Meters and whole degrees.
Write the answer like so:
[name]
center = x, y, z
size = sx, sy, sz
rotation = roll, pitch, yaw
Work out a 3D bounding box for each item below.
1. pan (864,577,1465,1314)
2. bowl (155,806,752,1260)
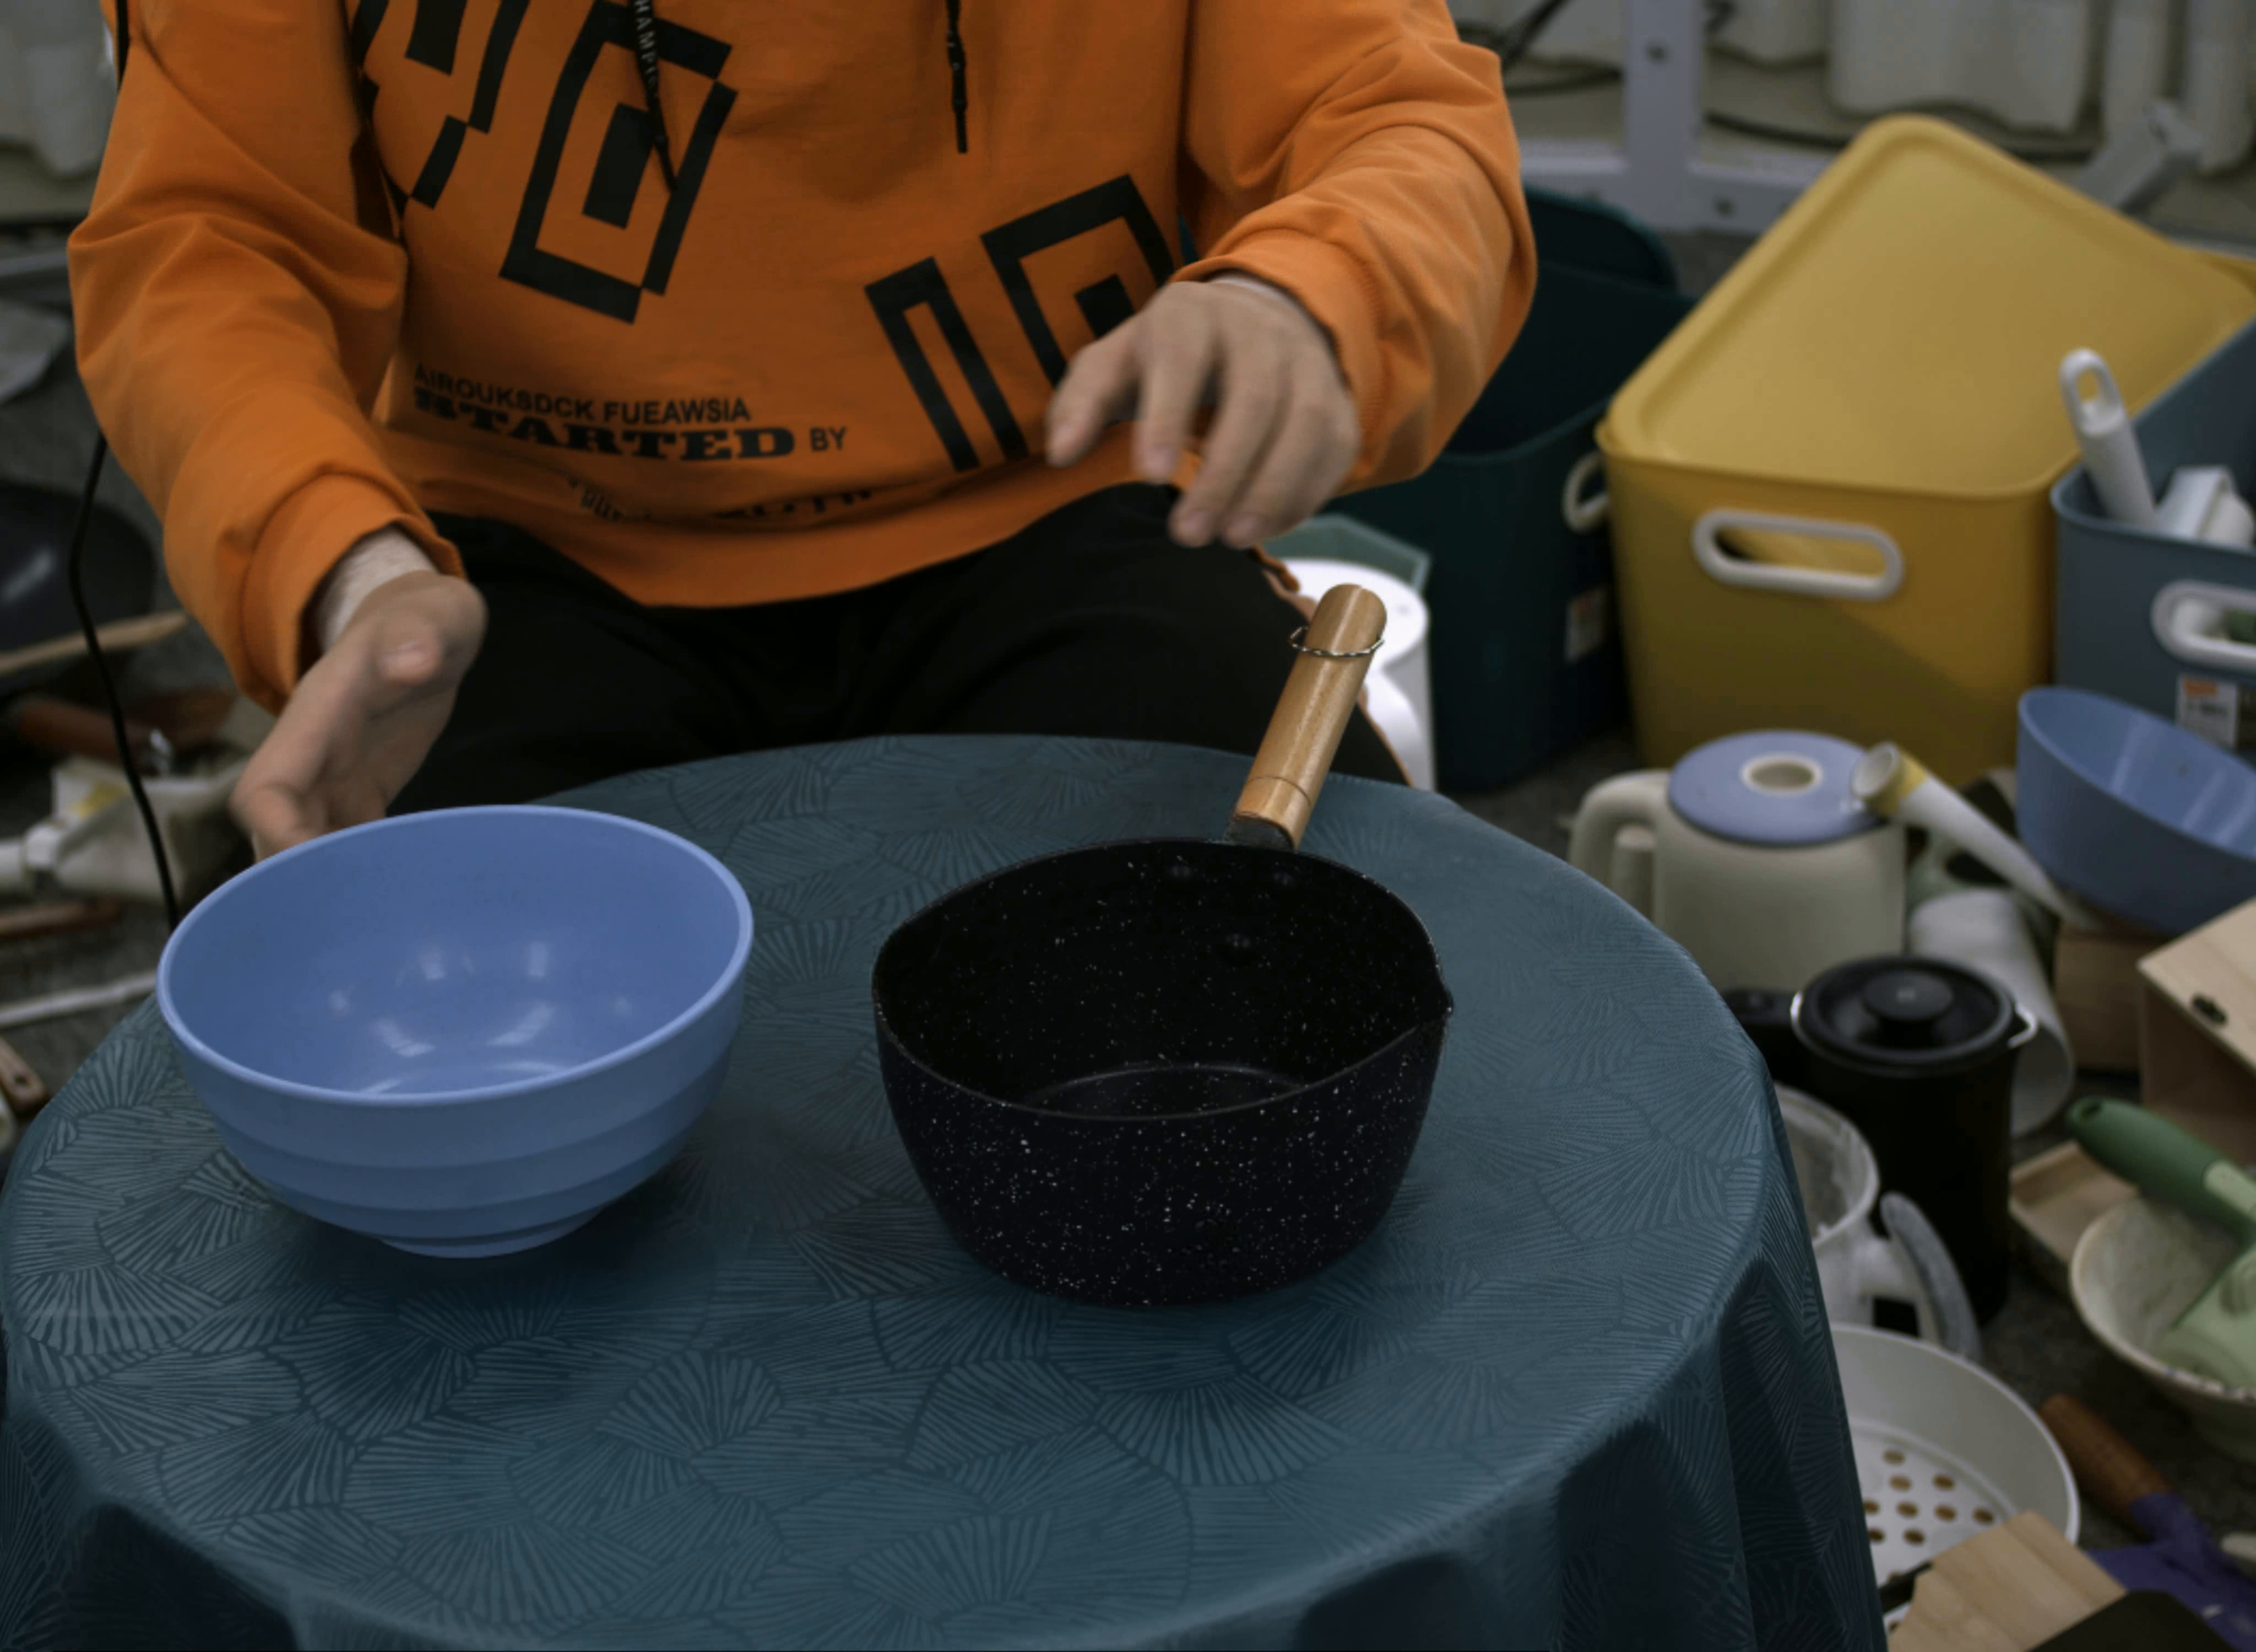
[pan]
center = 0.033, 0.037, 1.907
size = 0.206, 0.107, 0.349
rotation = 4, 30, 16
[bowl]
center = -0.218, 0.080, 1.862
size = 0.195, 0.094, 0.199
rotation = -3, 28, 2
